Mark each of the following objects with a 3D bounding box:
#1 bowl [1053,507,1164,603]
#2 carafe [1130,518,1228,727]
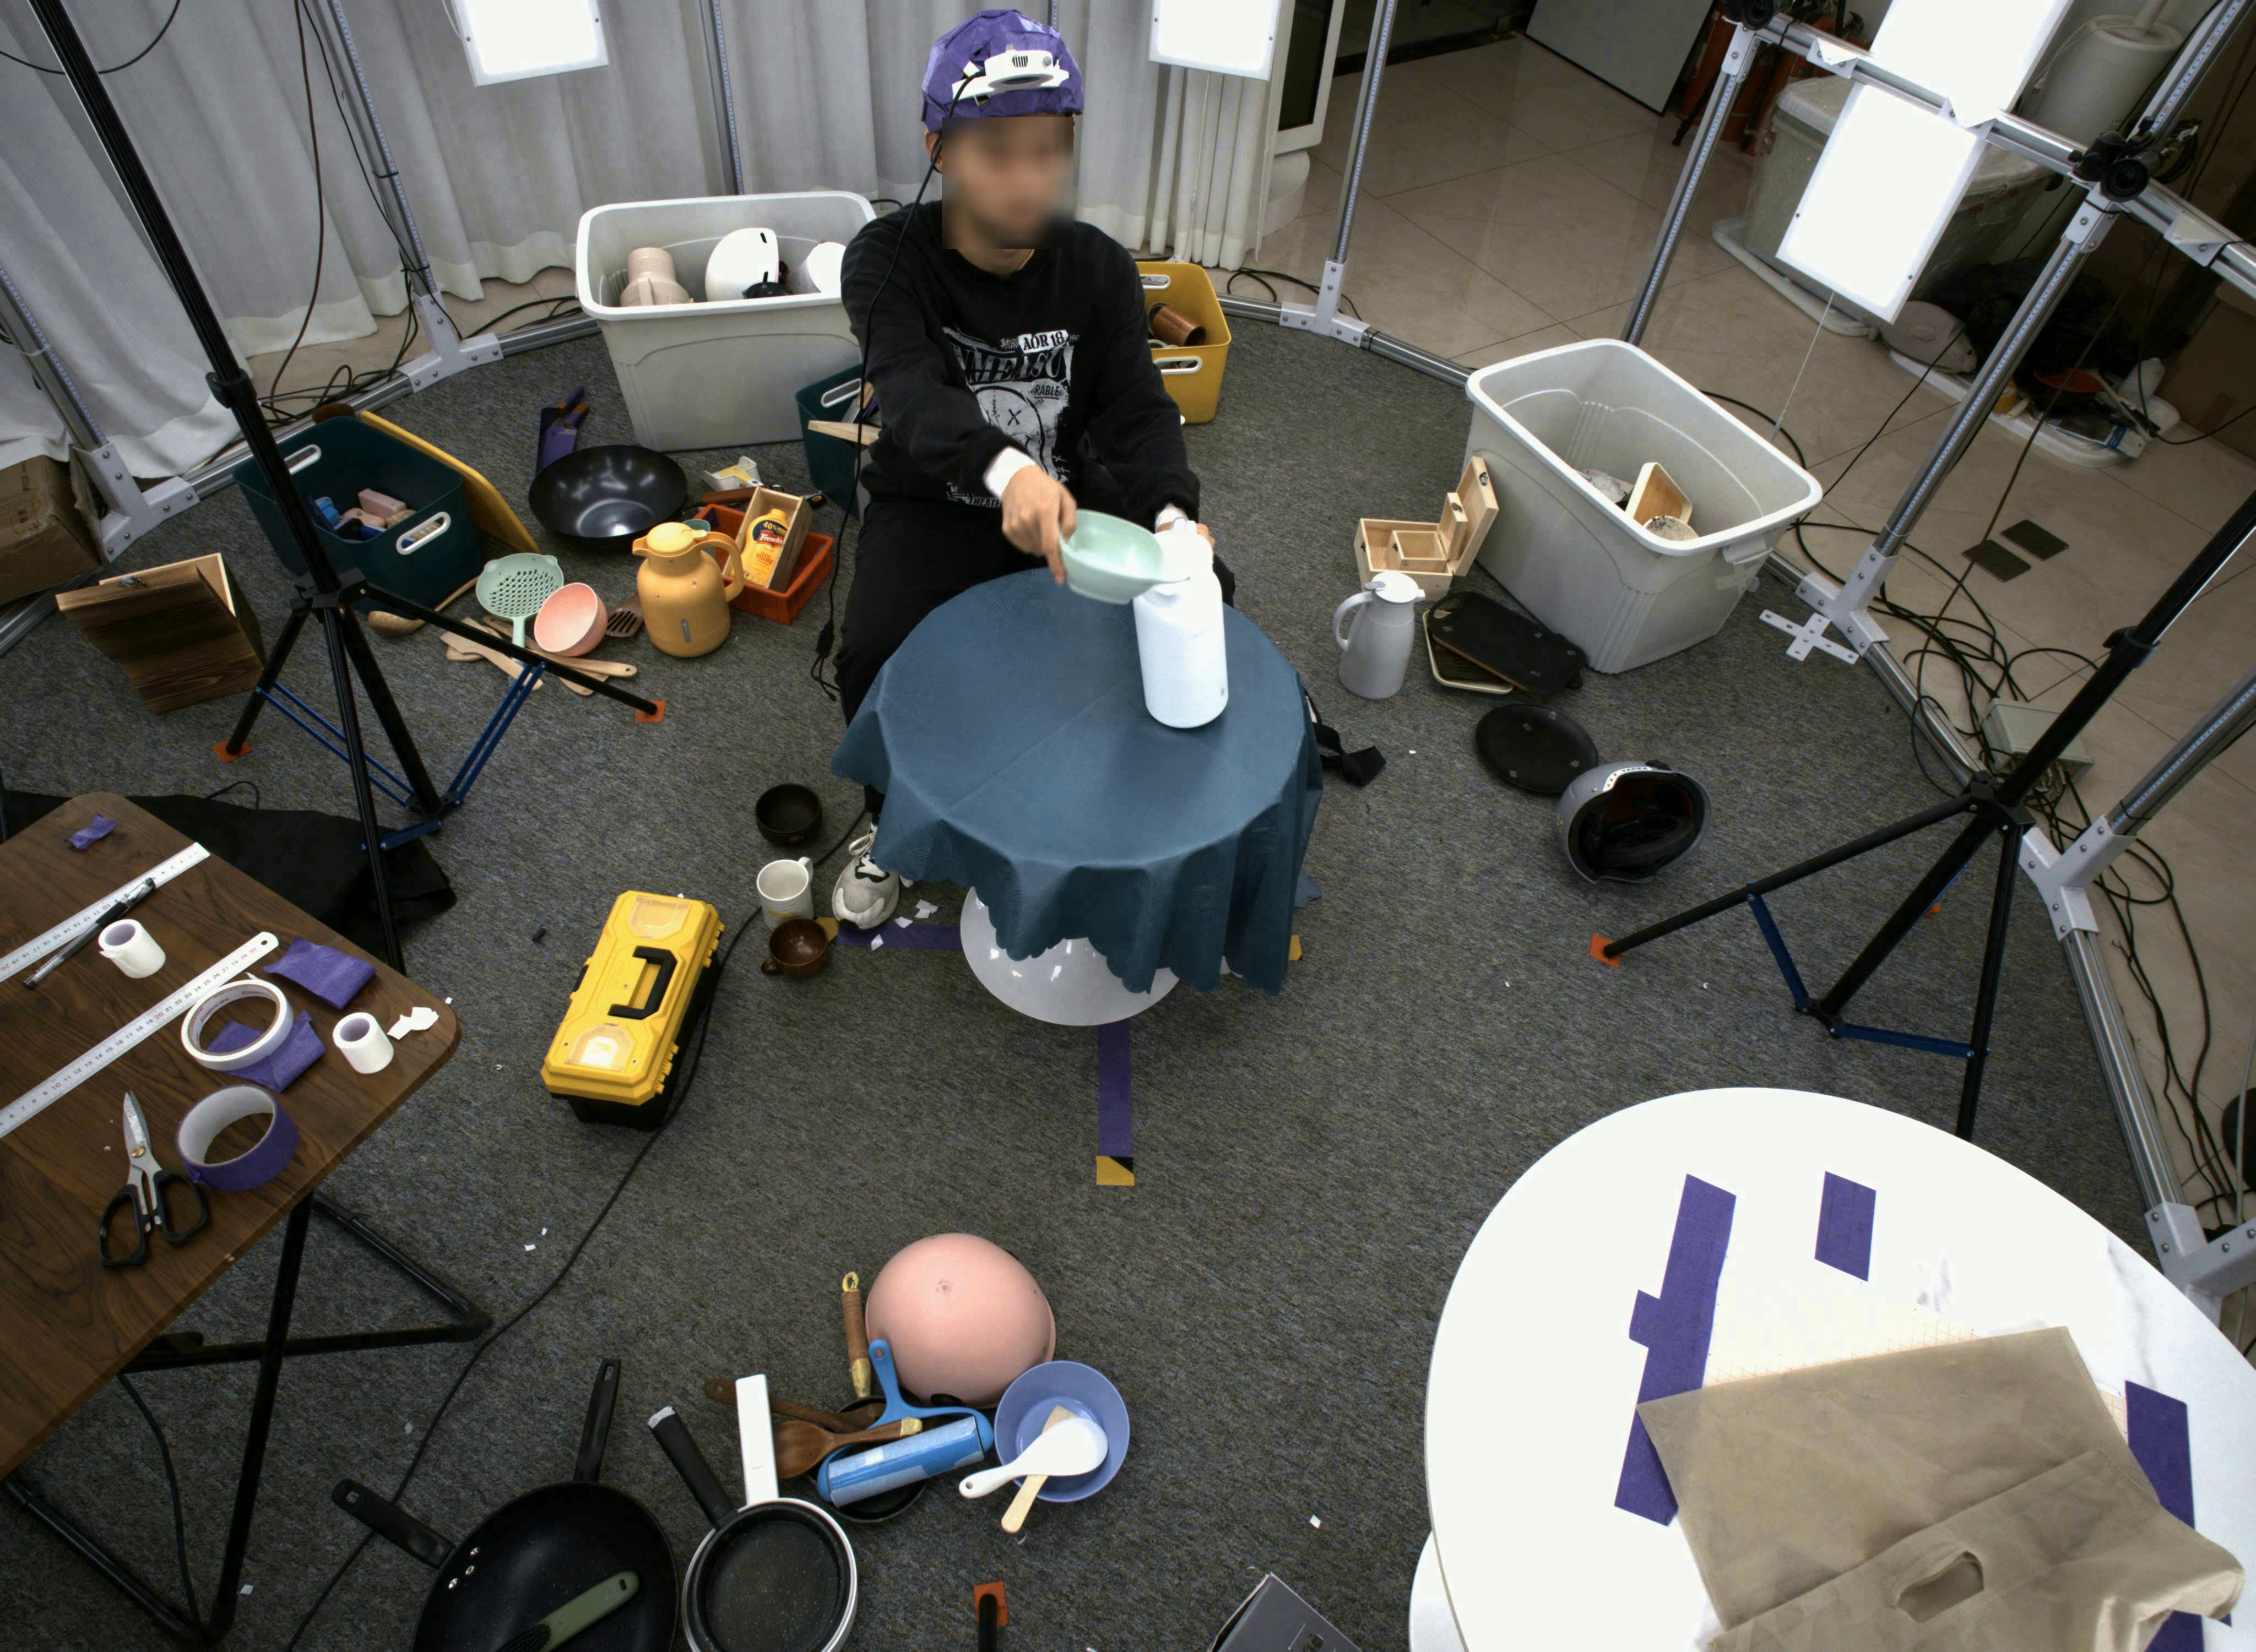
[{"bbox_3d":[-0.031,-0.320,1.551,0.151,0.057,0.155,15,35,-11],"label":"bowl"},{"bbox_3d":[0.069,-0.275,1.733,0.124,0.262,0.177,0,49,12],"label":"carafe"}]
